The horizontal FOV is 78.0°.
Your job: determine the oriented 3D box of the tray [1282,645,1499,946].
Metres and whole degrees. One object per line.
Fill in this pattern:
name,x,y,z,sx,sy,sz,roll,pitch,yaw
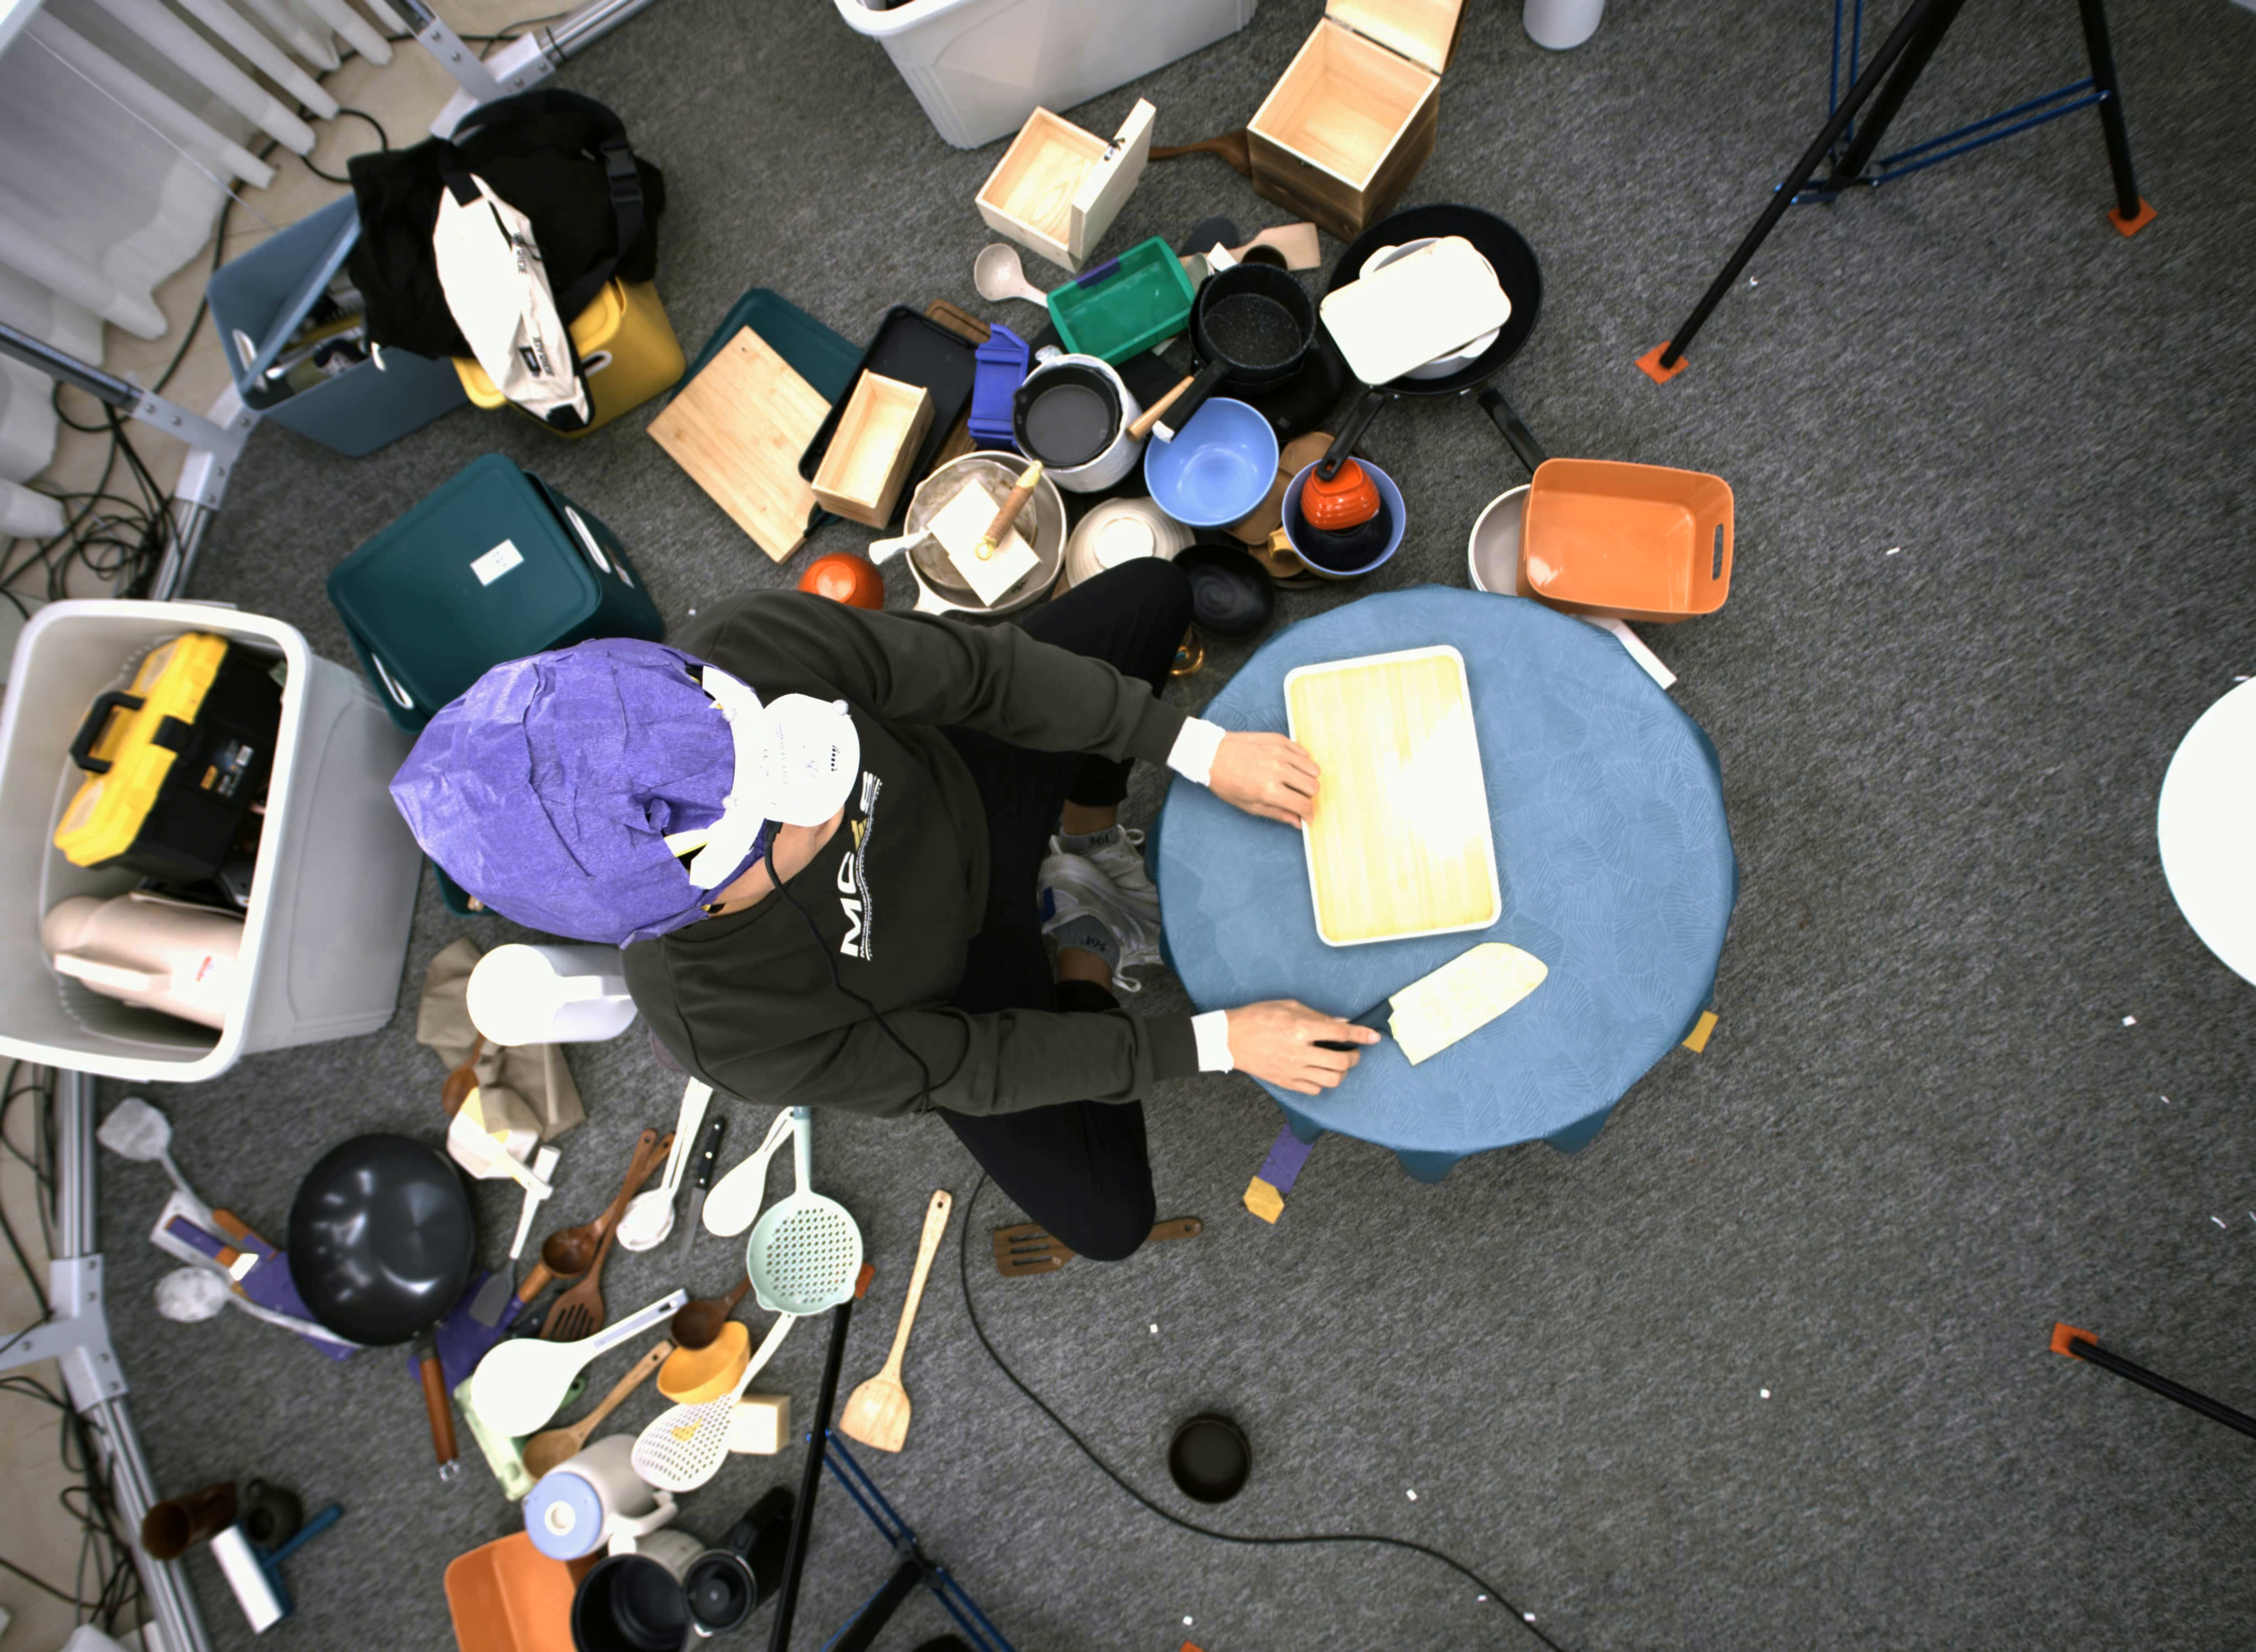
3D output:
tray,0.275,-0.033,1.452,0.192,0.027,0.298,-8,85,11

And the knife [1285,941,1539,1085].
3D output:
knife,0.298,0.203,1.440,0.291,0.027,0.080,-29,82,7
